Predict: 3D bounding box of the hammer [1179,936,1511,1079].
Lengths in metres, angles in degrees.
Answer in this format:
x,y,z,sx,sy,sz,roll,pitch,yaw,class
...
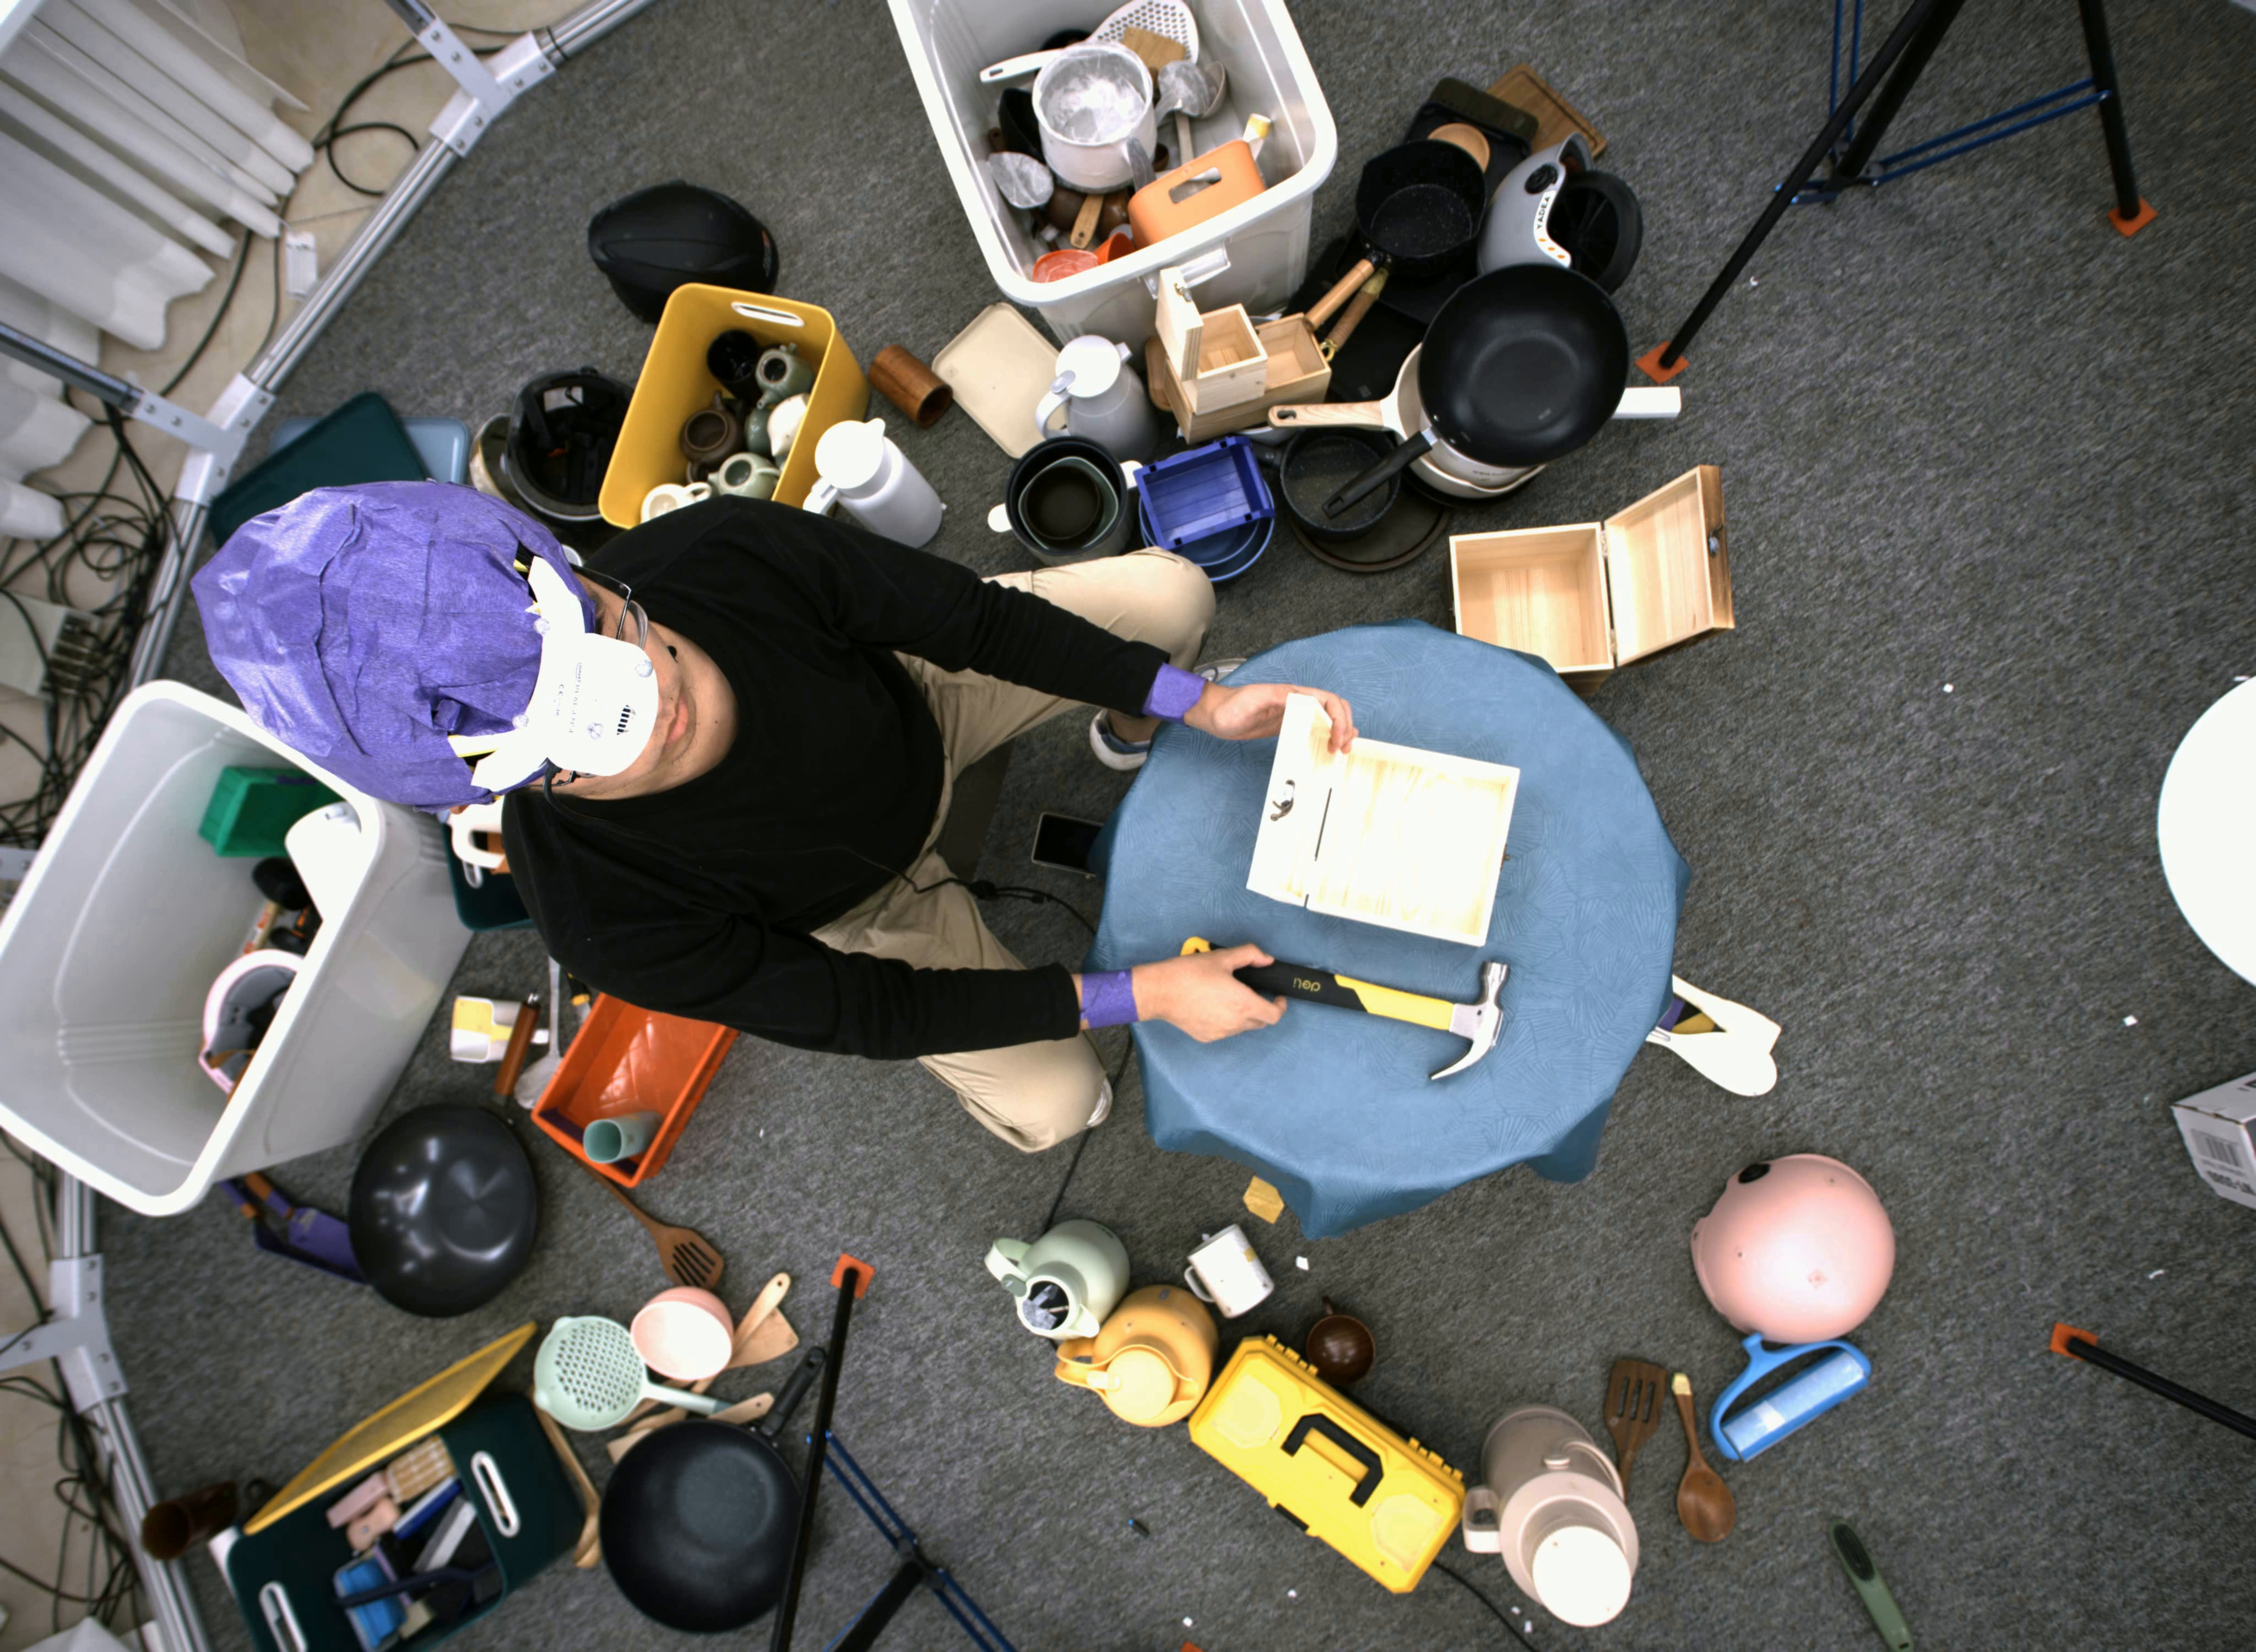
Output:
x,y,z,sx,sy,sz,roll,pitch,yaw,class
0.219,0.170,1.447,0.339,0.032,0.131,13,89,10,hammer

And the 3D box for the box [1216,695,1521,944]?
x,y,z,sx,sy,sz,roll,pitch,yaw,class
0.245,0.001,1.343,0.265,0.253,0.181,11,89,11,box
